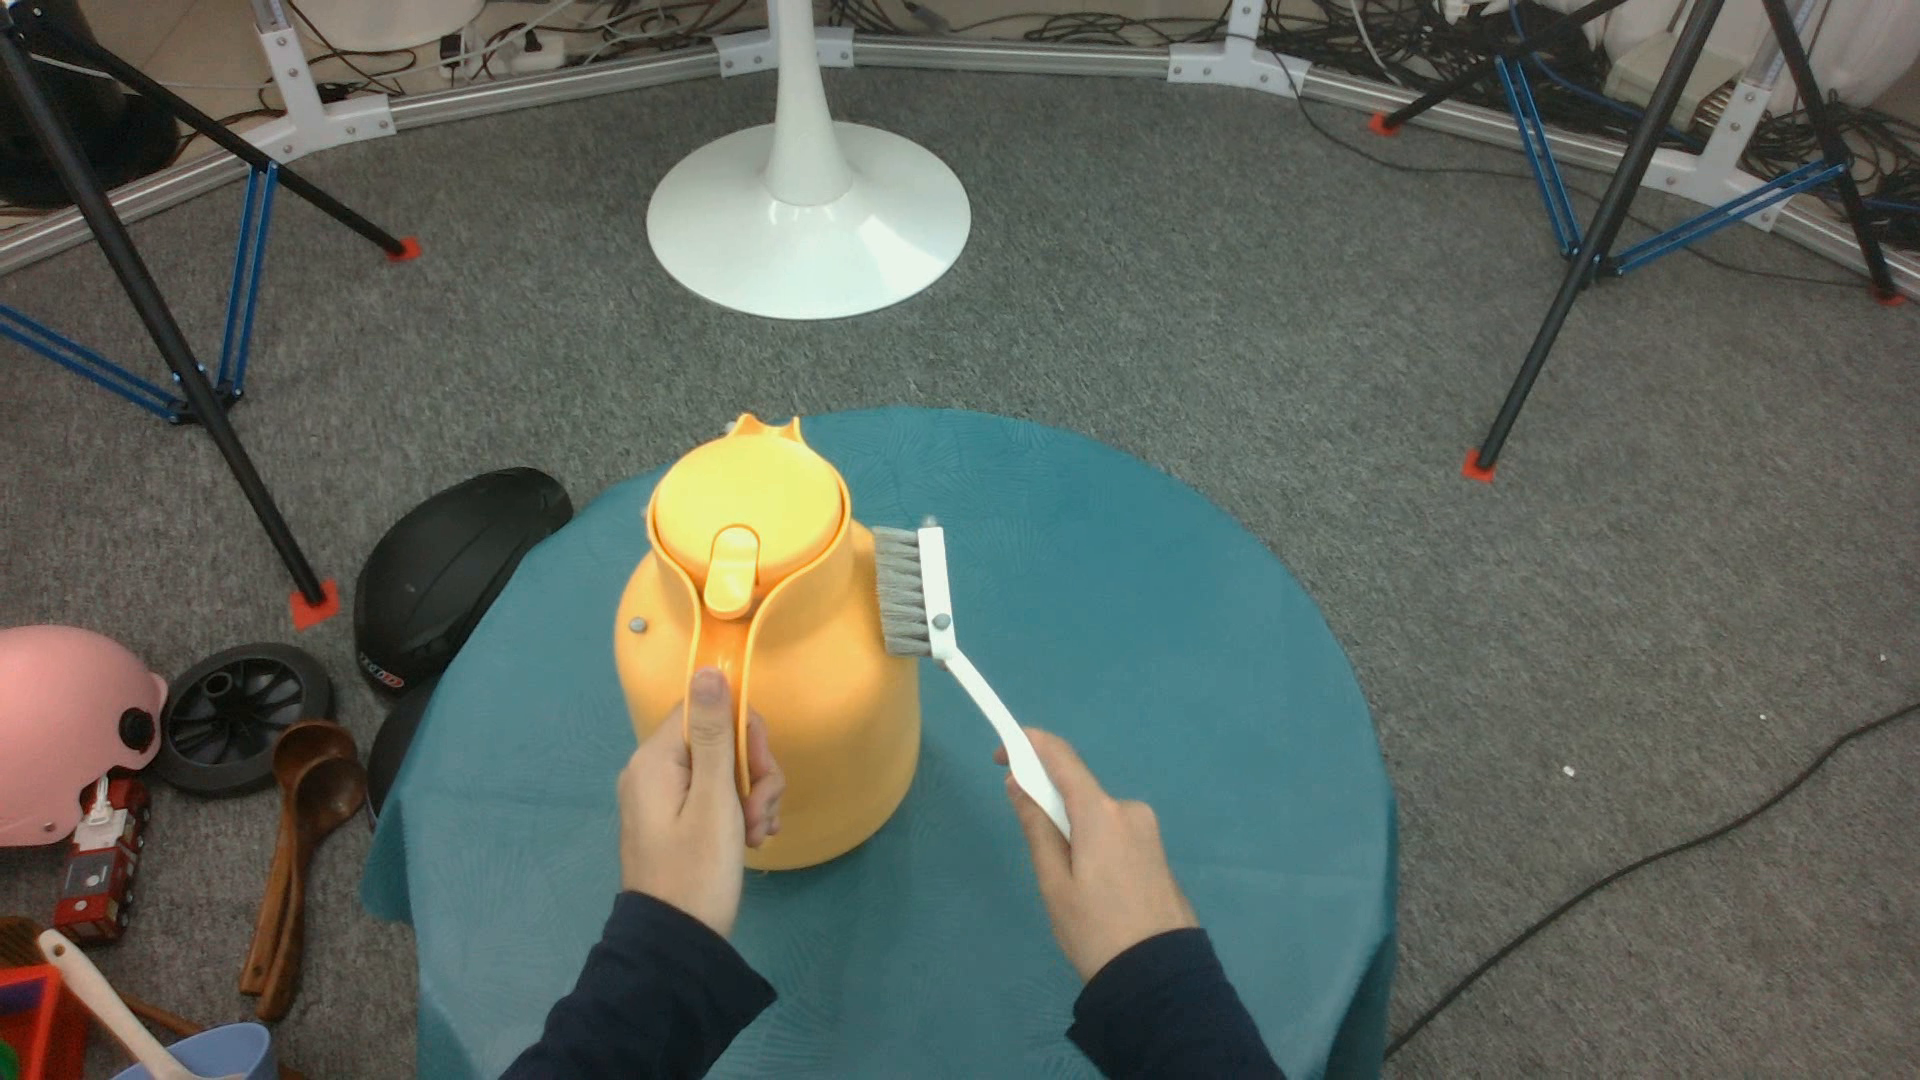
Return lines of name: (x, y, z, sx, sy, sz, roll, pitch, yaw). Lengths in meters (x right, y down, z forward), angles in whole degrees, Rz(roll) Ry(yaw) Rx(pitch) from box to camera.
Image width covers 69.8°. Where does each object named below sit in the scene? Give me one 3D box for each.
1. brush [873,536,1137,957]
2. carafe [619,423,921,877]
brush: (0.016, 0.105, 0.698, 0.050, 0.034, 0.244, -25, 78, -6)
carafe: (-0.108, 0.078, 0.749, 0.163, 0.259, 0.203, 3, 48, 4)
